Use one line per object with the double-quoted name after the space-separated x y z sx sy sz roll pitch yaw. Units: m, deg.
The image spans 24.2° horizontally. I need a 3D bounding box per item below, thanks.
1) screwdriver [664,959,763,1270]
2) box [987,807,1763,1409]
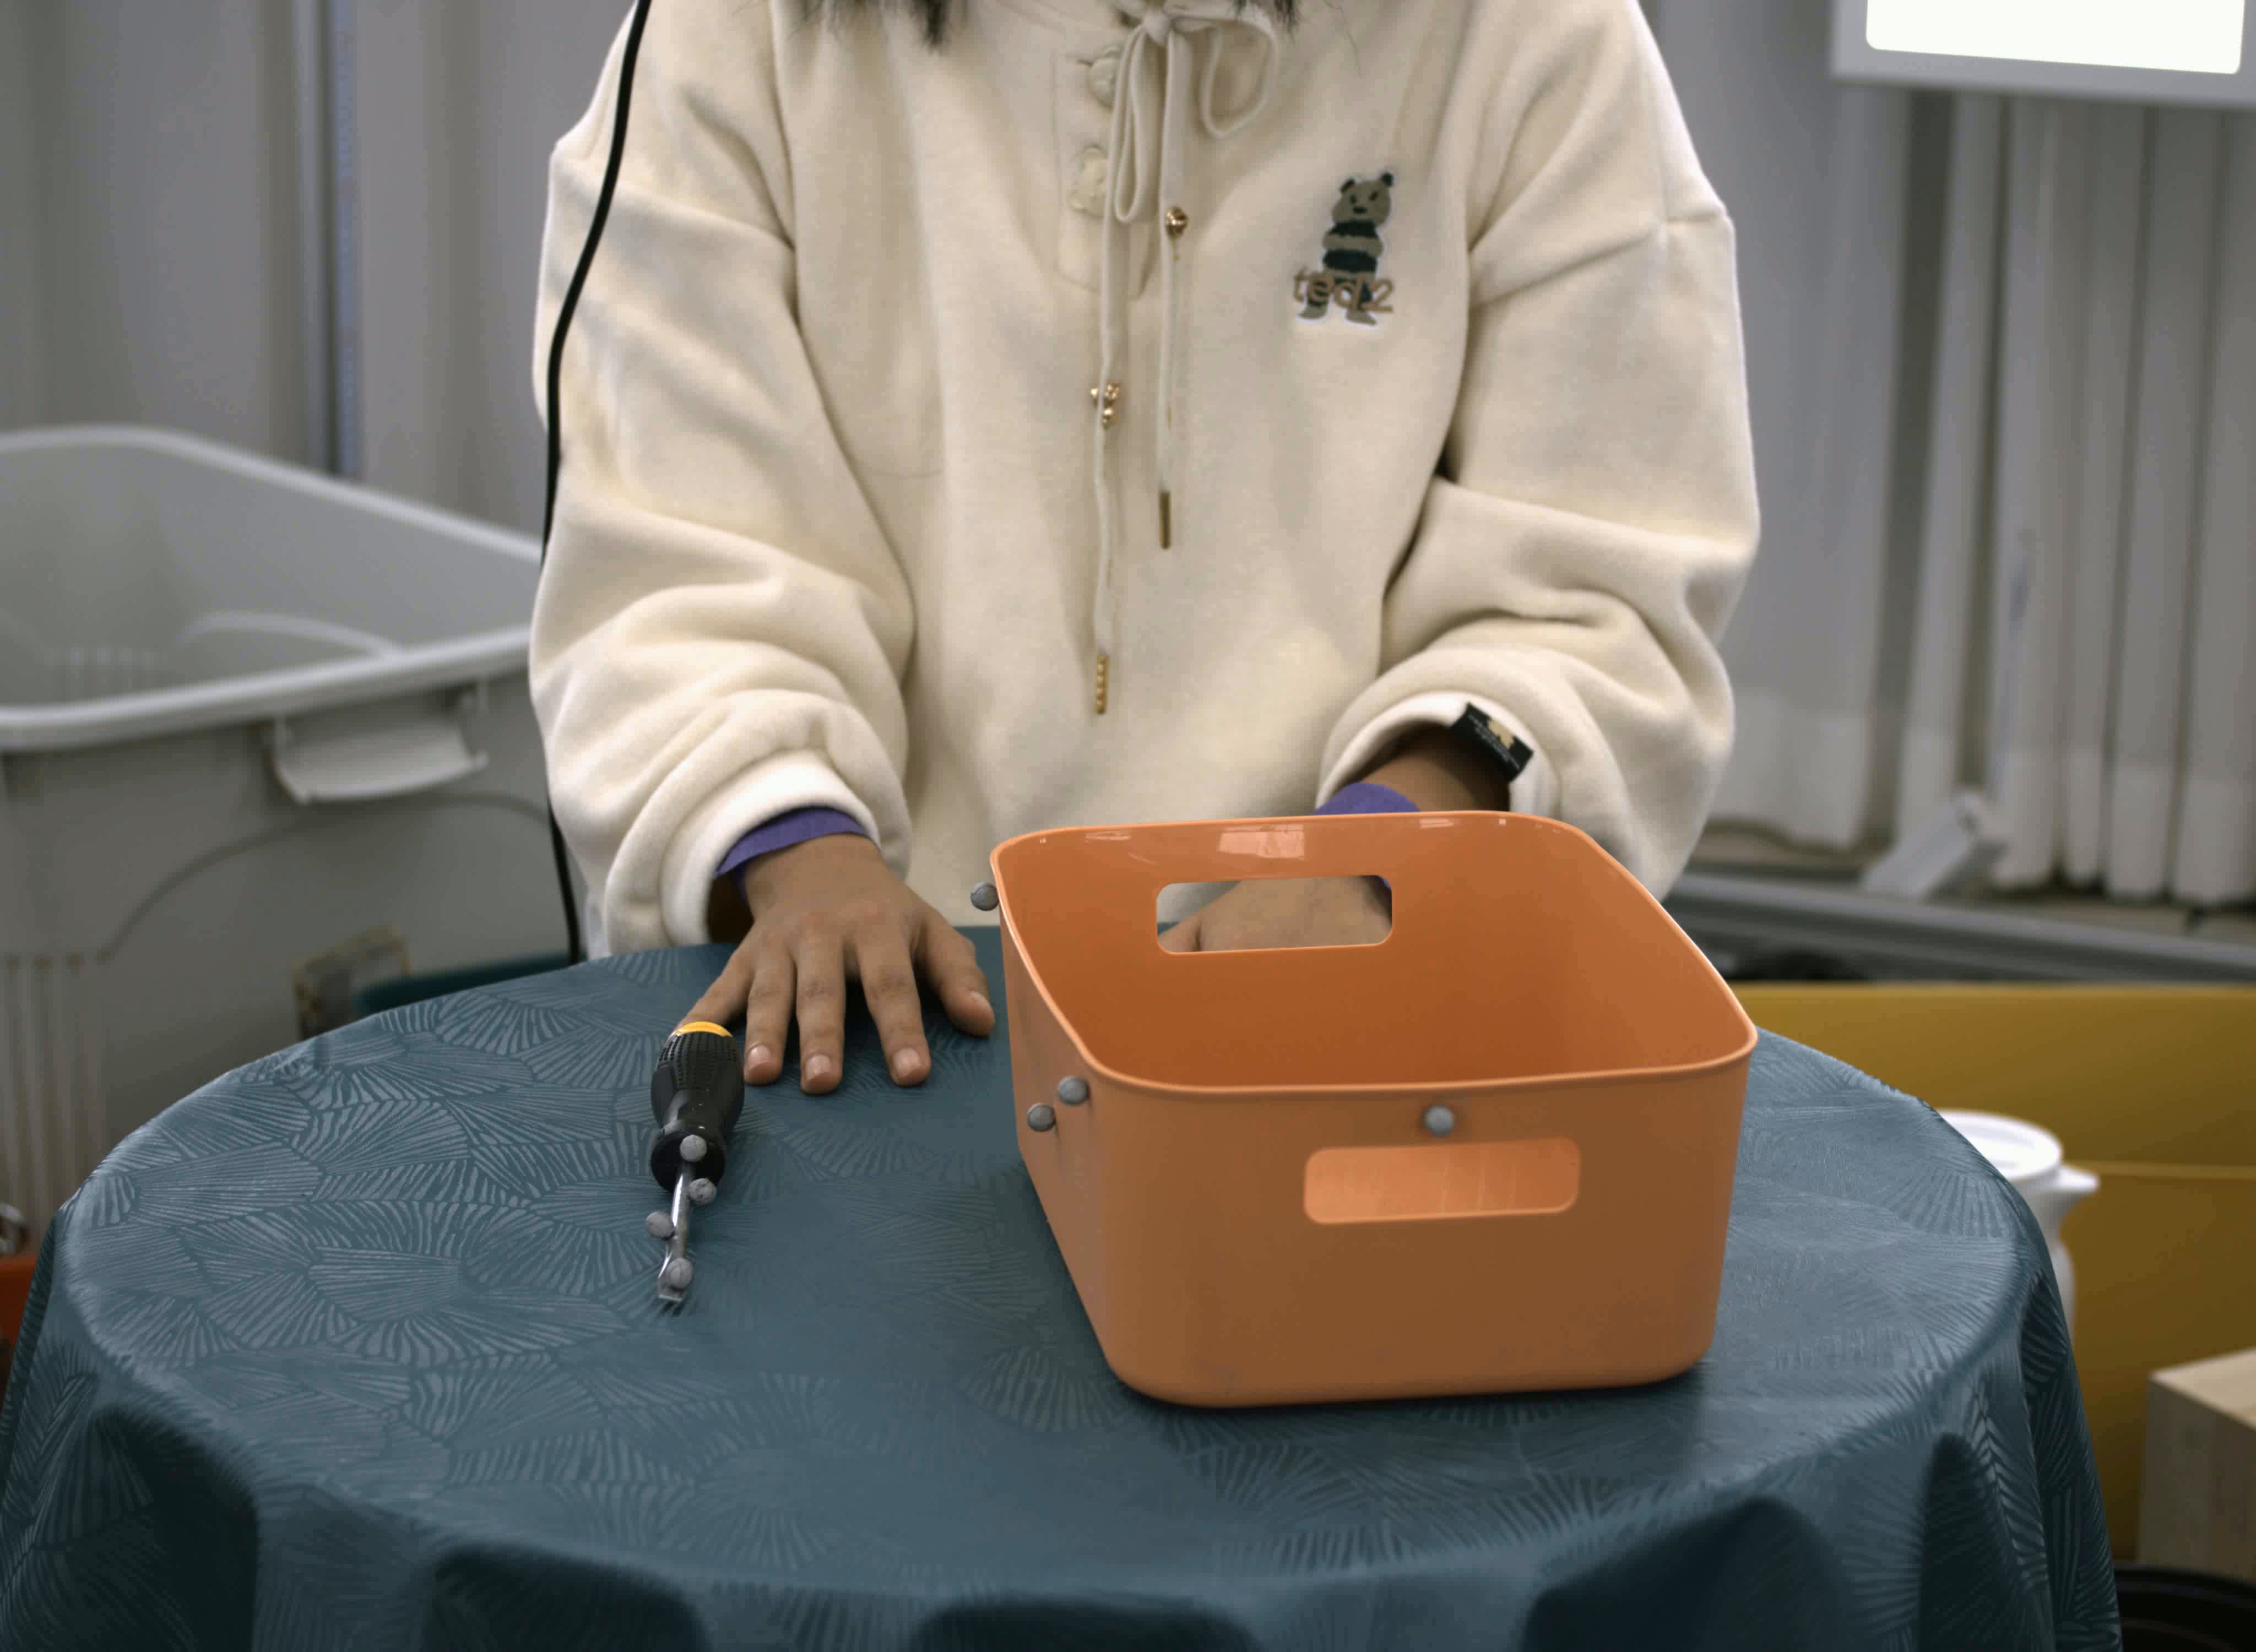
-0.126 0.090 1.611 0.031 0.032 0.196 -1 24 -5 "screwdriver"
0.067 0.079 1.547 0.199 0.103 0.271 -3 16 -9 "box"
